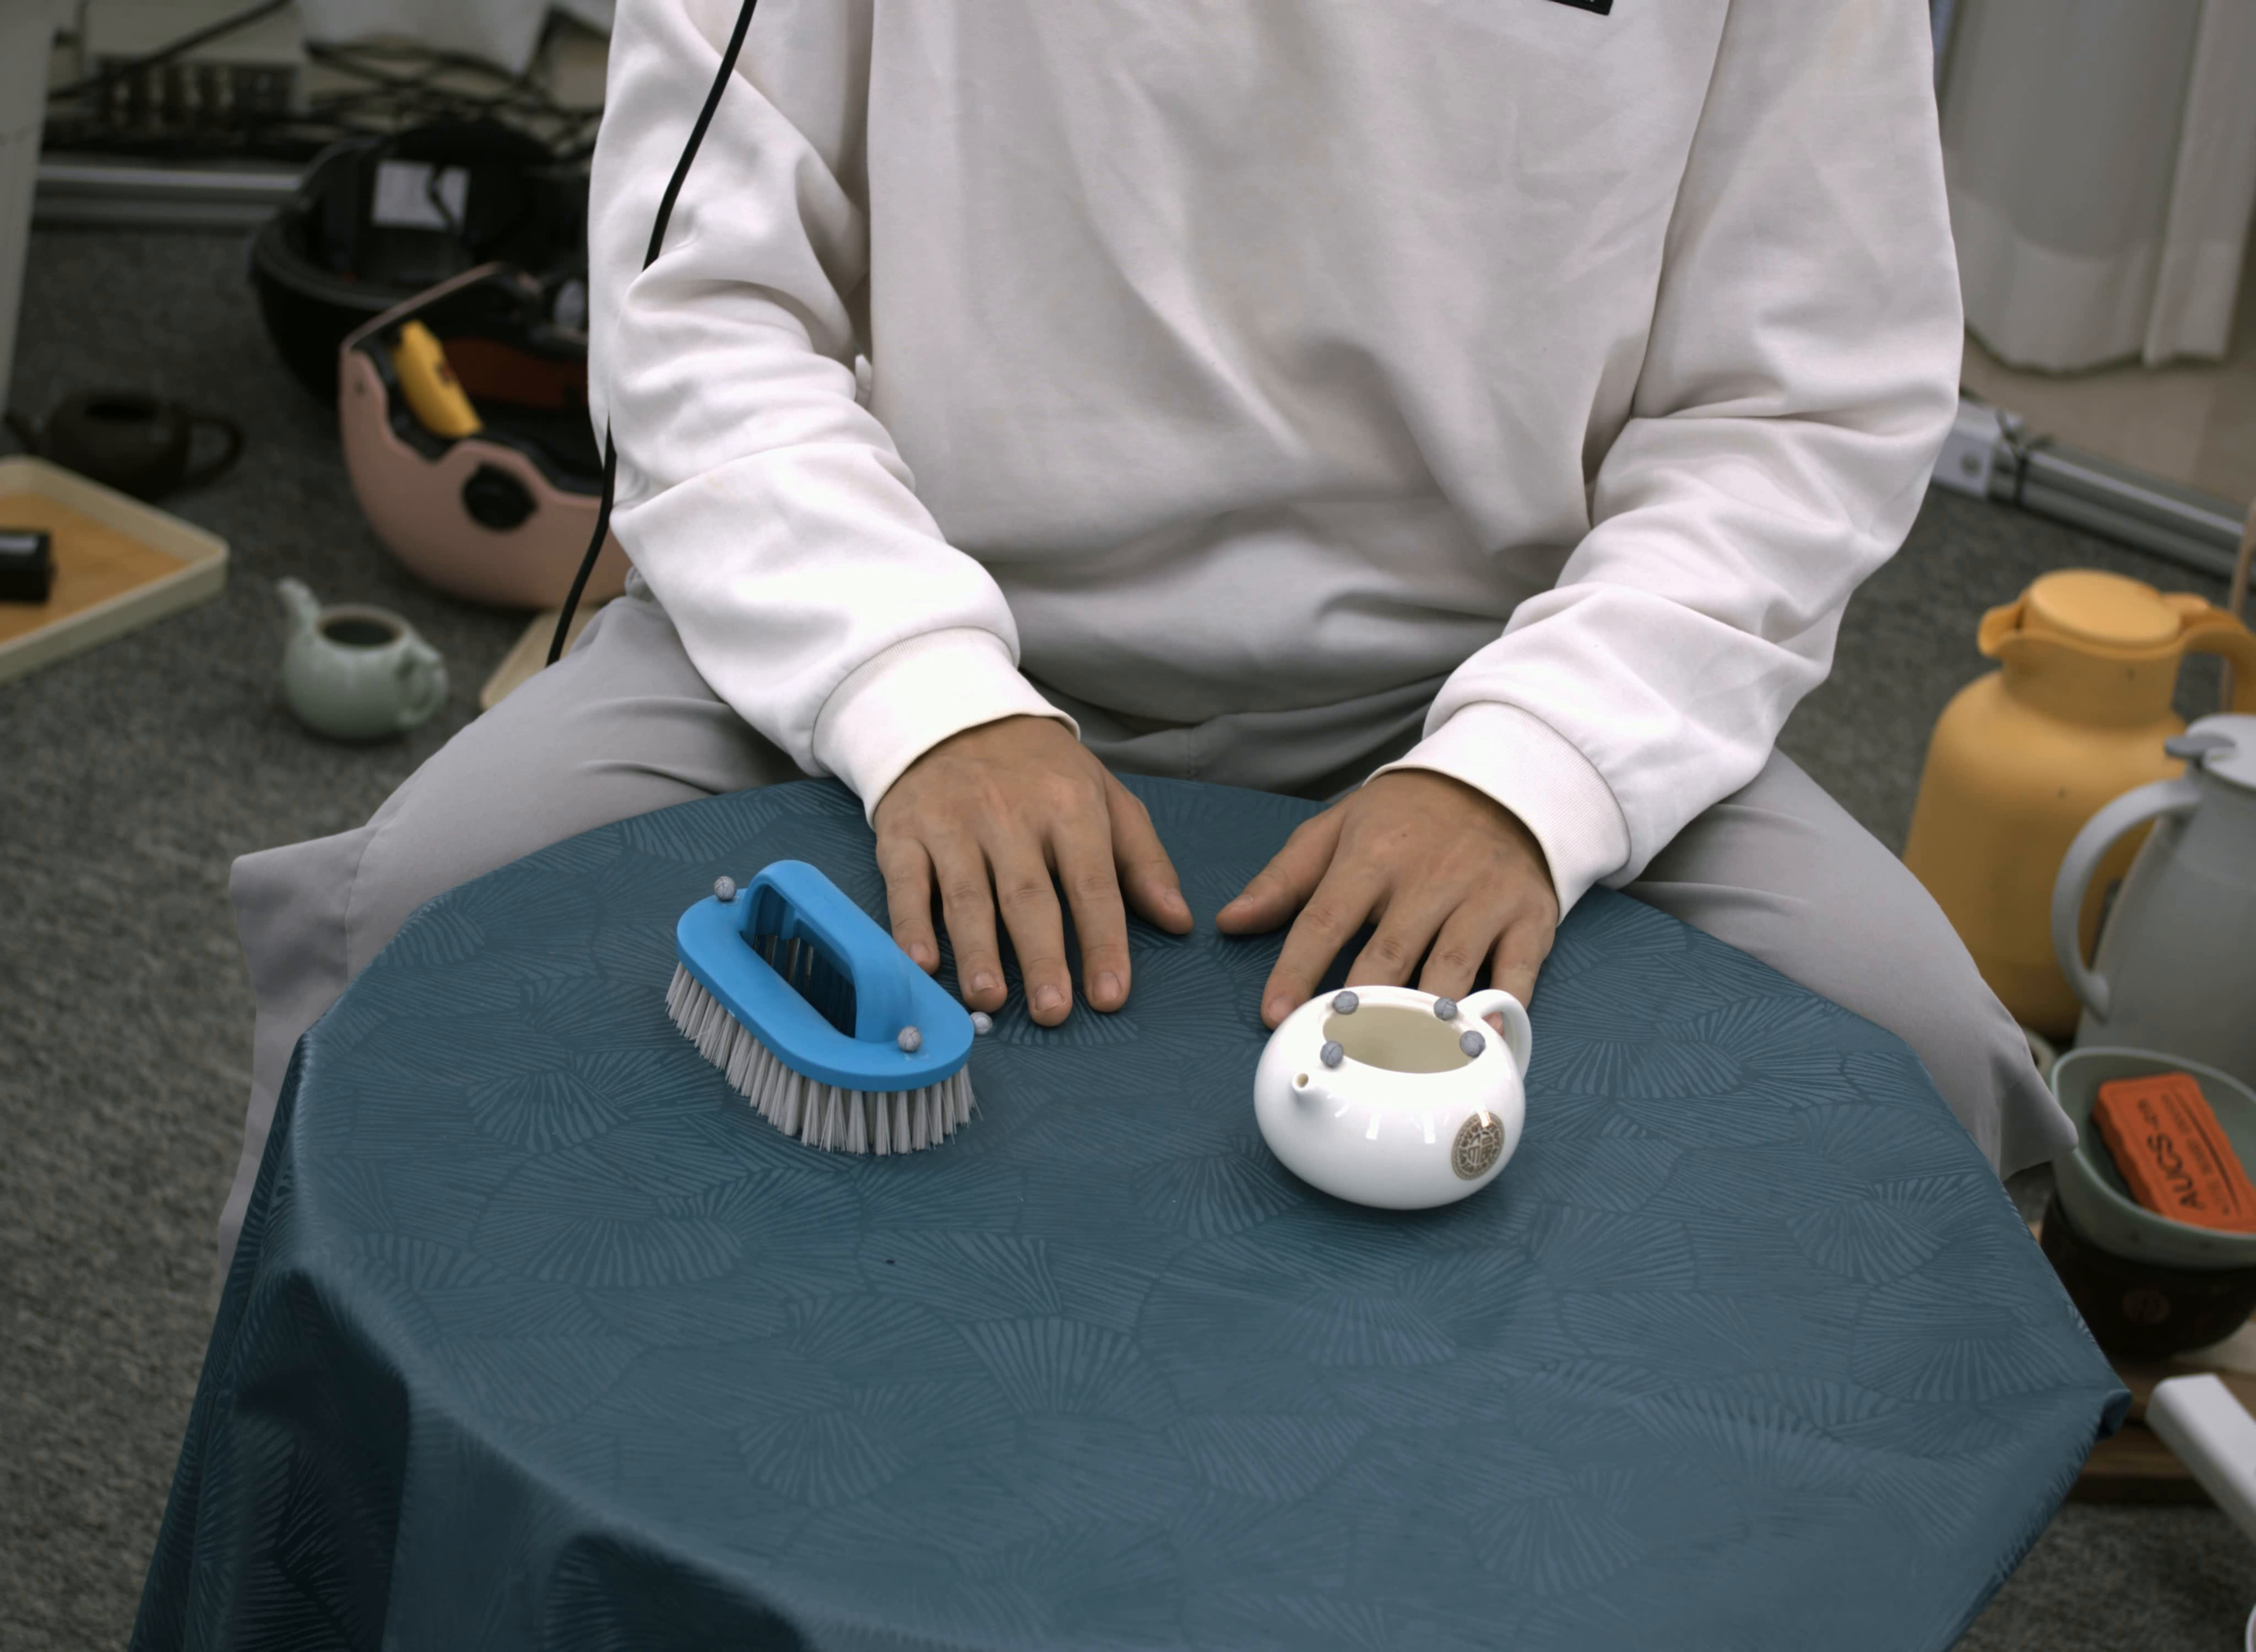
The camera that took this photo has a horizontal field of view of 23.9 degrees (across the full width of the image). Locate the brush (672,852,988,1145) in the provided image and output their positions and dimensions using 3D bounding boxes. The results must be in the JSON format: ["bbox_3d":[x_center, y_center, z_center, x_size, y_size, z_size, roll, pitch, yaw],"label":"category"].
[{"bbox_3d":[-0.106,0.051,1.852,0.084,0.063,0.143,-14,32,-27],"label":"brush"}]

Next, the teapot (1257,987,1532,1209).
[{"bbox_3d":[0.098,0.091,1.834,0.094,0.056,0.127,21,28,34],"label":"teapot"}]
